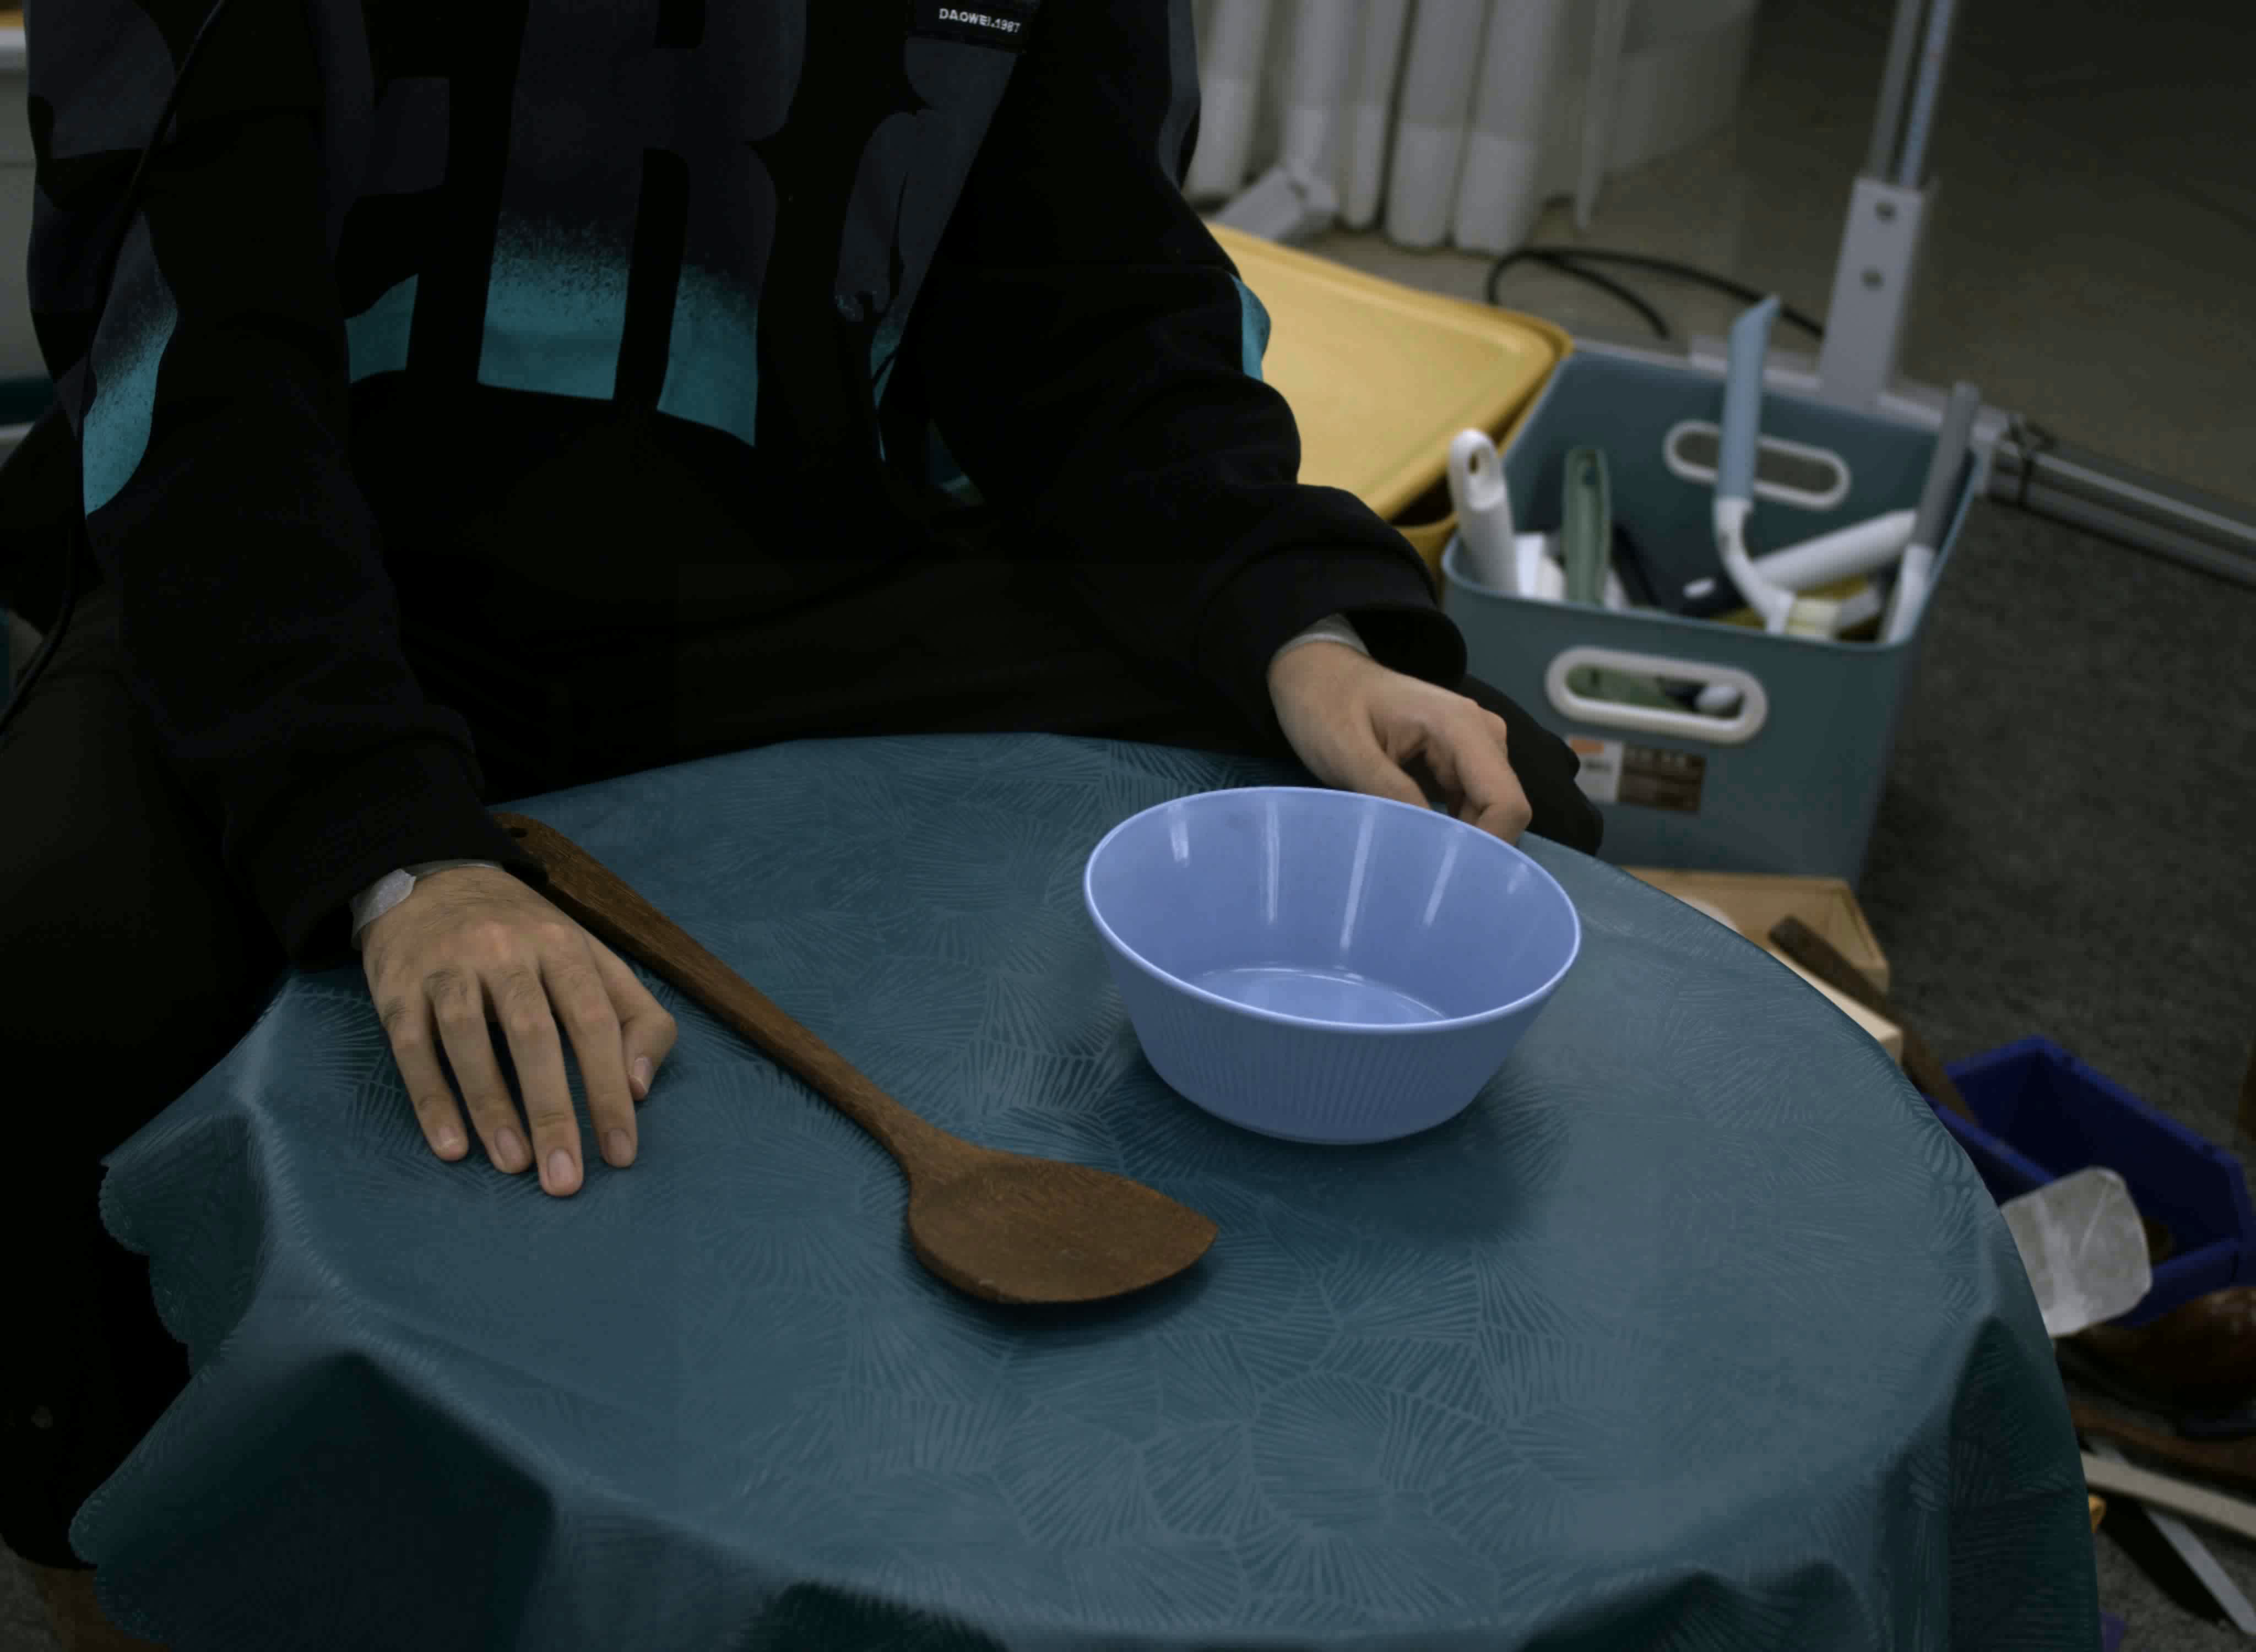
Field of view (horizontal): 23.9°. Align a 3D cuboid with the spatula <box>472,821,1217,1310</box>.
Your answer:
[{"bbox_3d":[-0.118,0.076,1.854,0.095,0.016,0.389,-15,33,-37],"label":"spatula"}]

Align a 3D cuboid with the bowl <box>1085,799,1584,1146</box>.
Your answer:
[{"bbox_3d":[0.069,0.057,1.872,0.175,0.070,0.177,5,25,-3],"label":"bowl"}]
